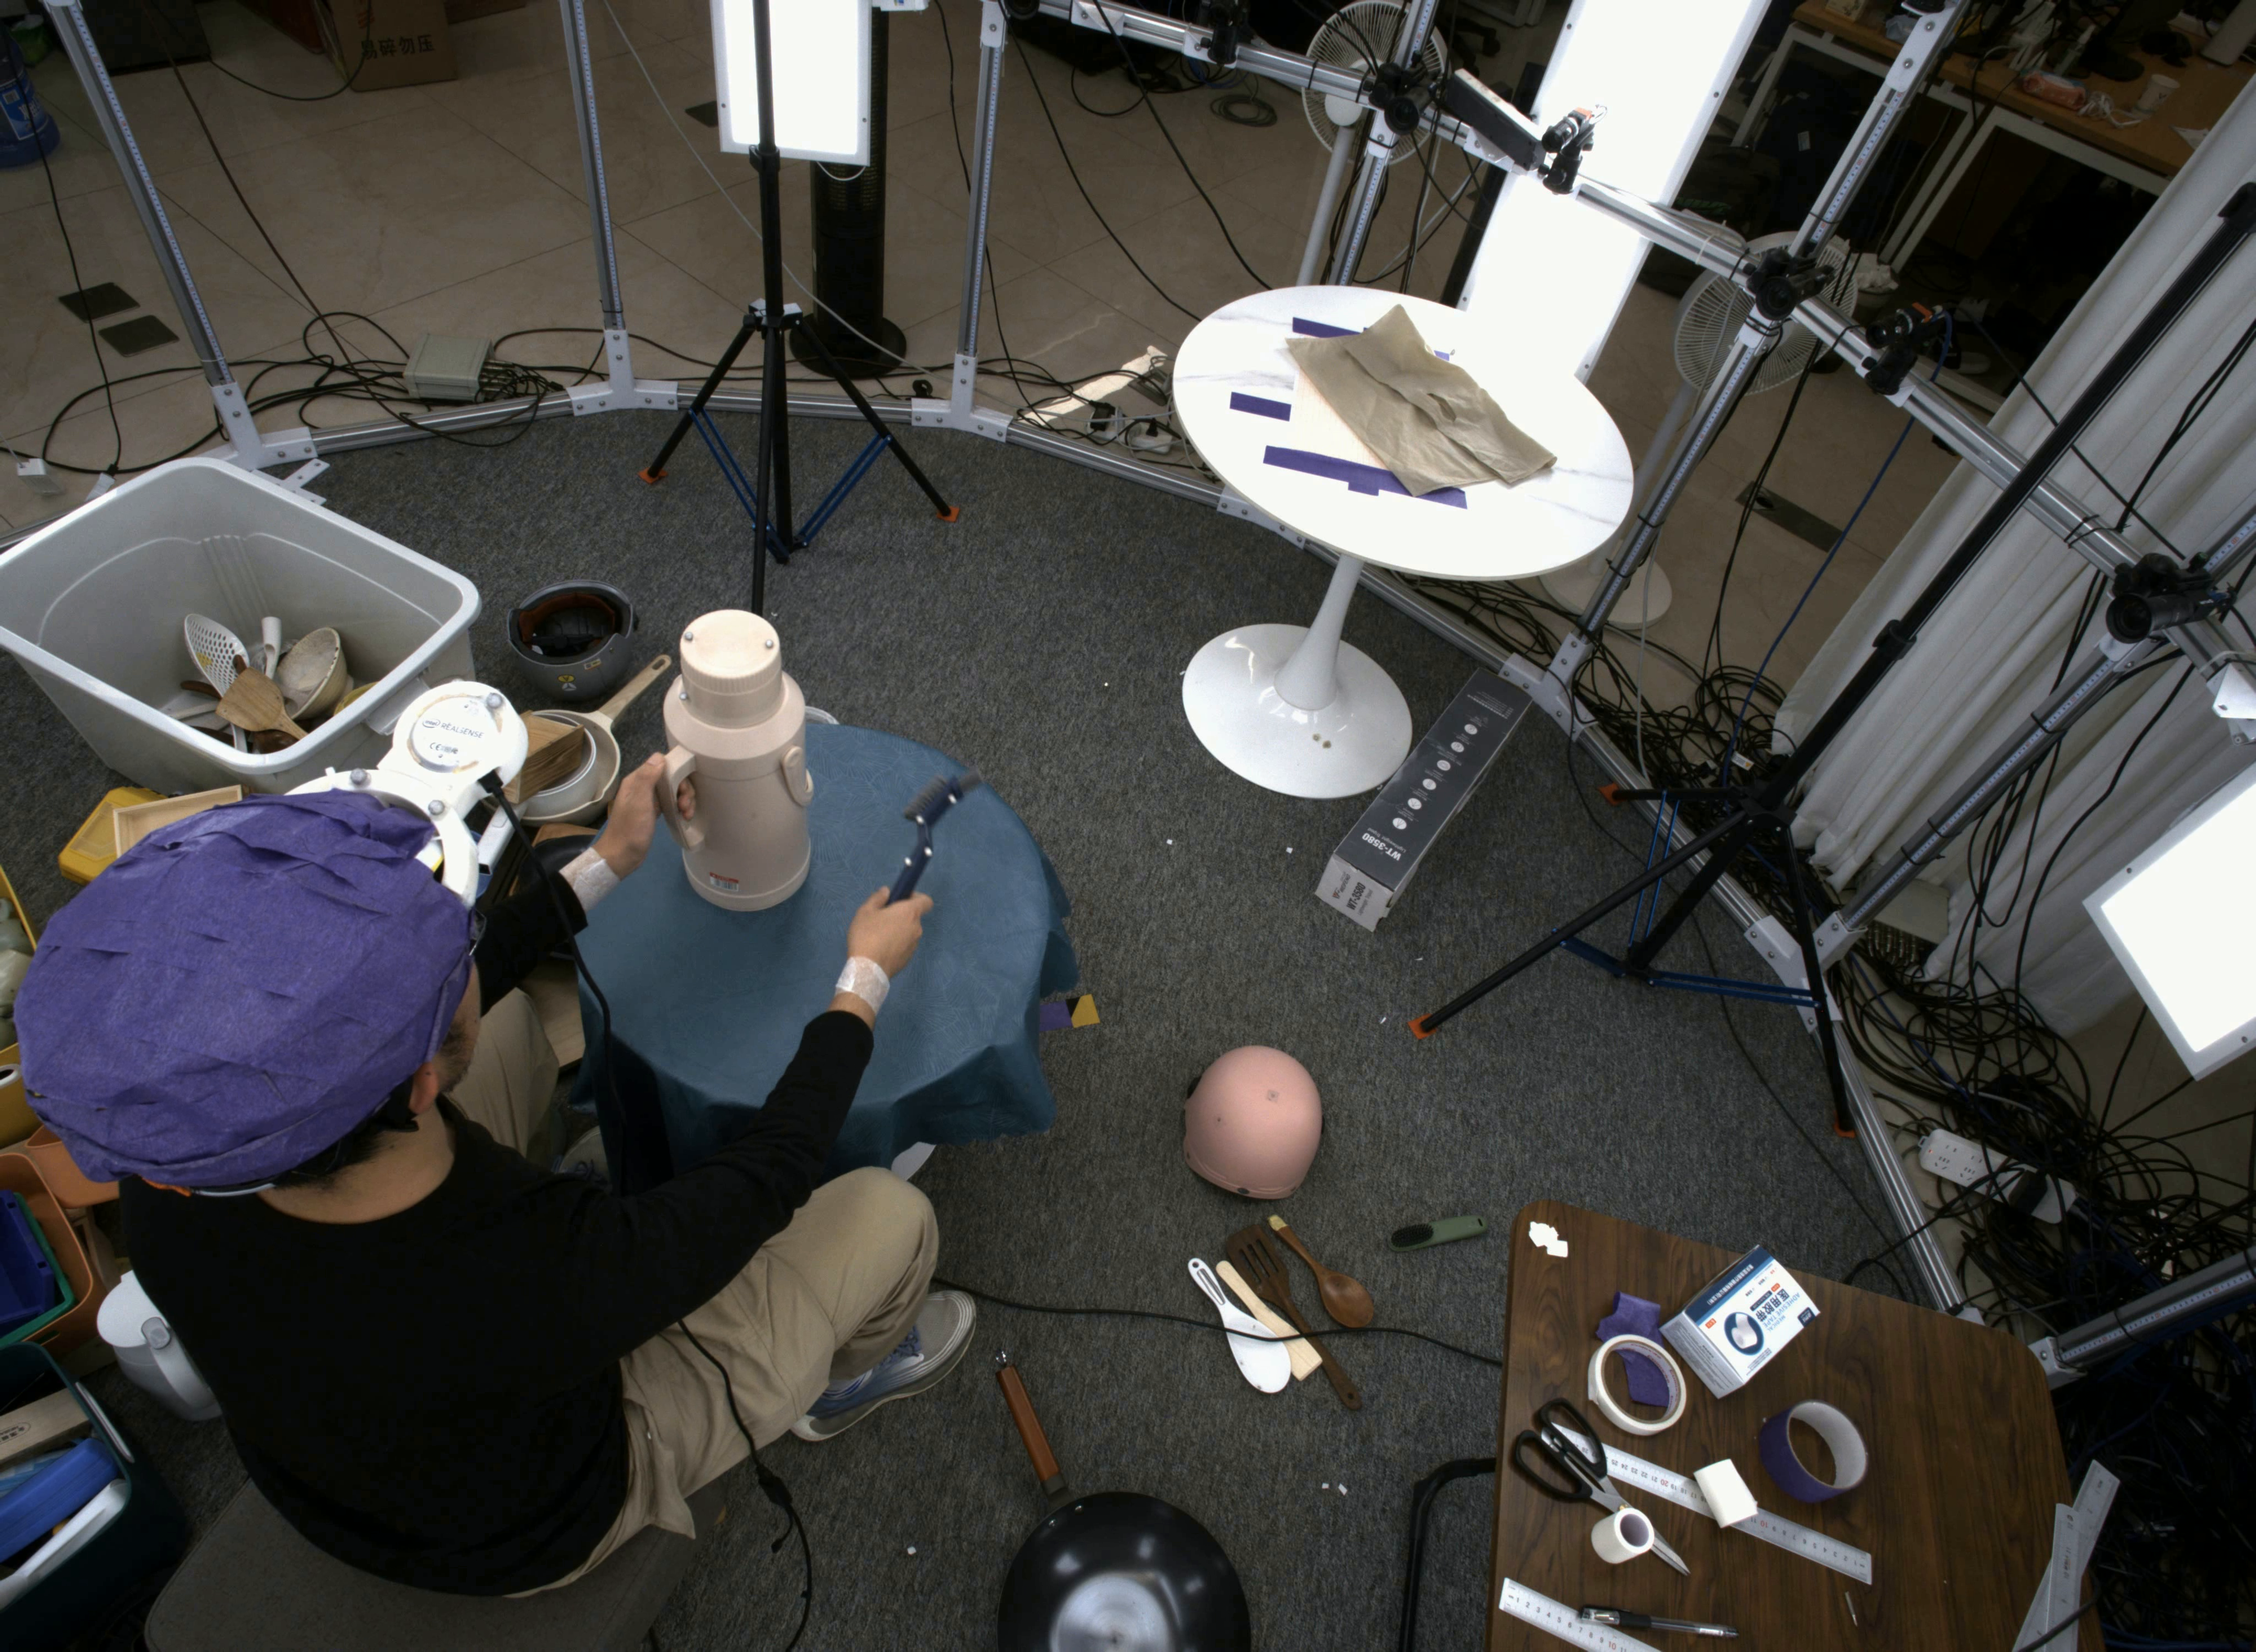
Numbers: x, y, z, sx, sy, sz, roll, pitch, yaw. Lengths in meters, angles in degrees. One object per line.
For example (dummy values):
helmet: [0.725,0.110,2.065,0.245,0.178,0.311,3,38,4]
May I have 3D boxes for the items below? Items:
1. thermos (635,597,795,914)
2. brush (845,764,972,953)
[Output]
thermos: [-0.485,-0.070,1.498,0.172,0.414,0.206,30,52,10]
brush: [-0.262,0.030,1.545,0.093,0.035,0.269,0,51,15]
